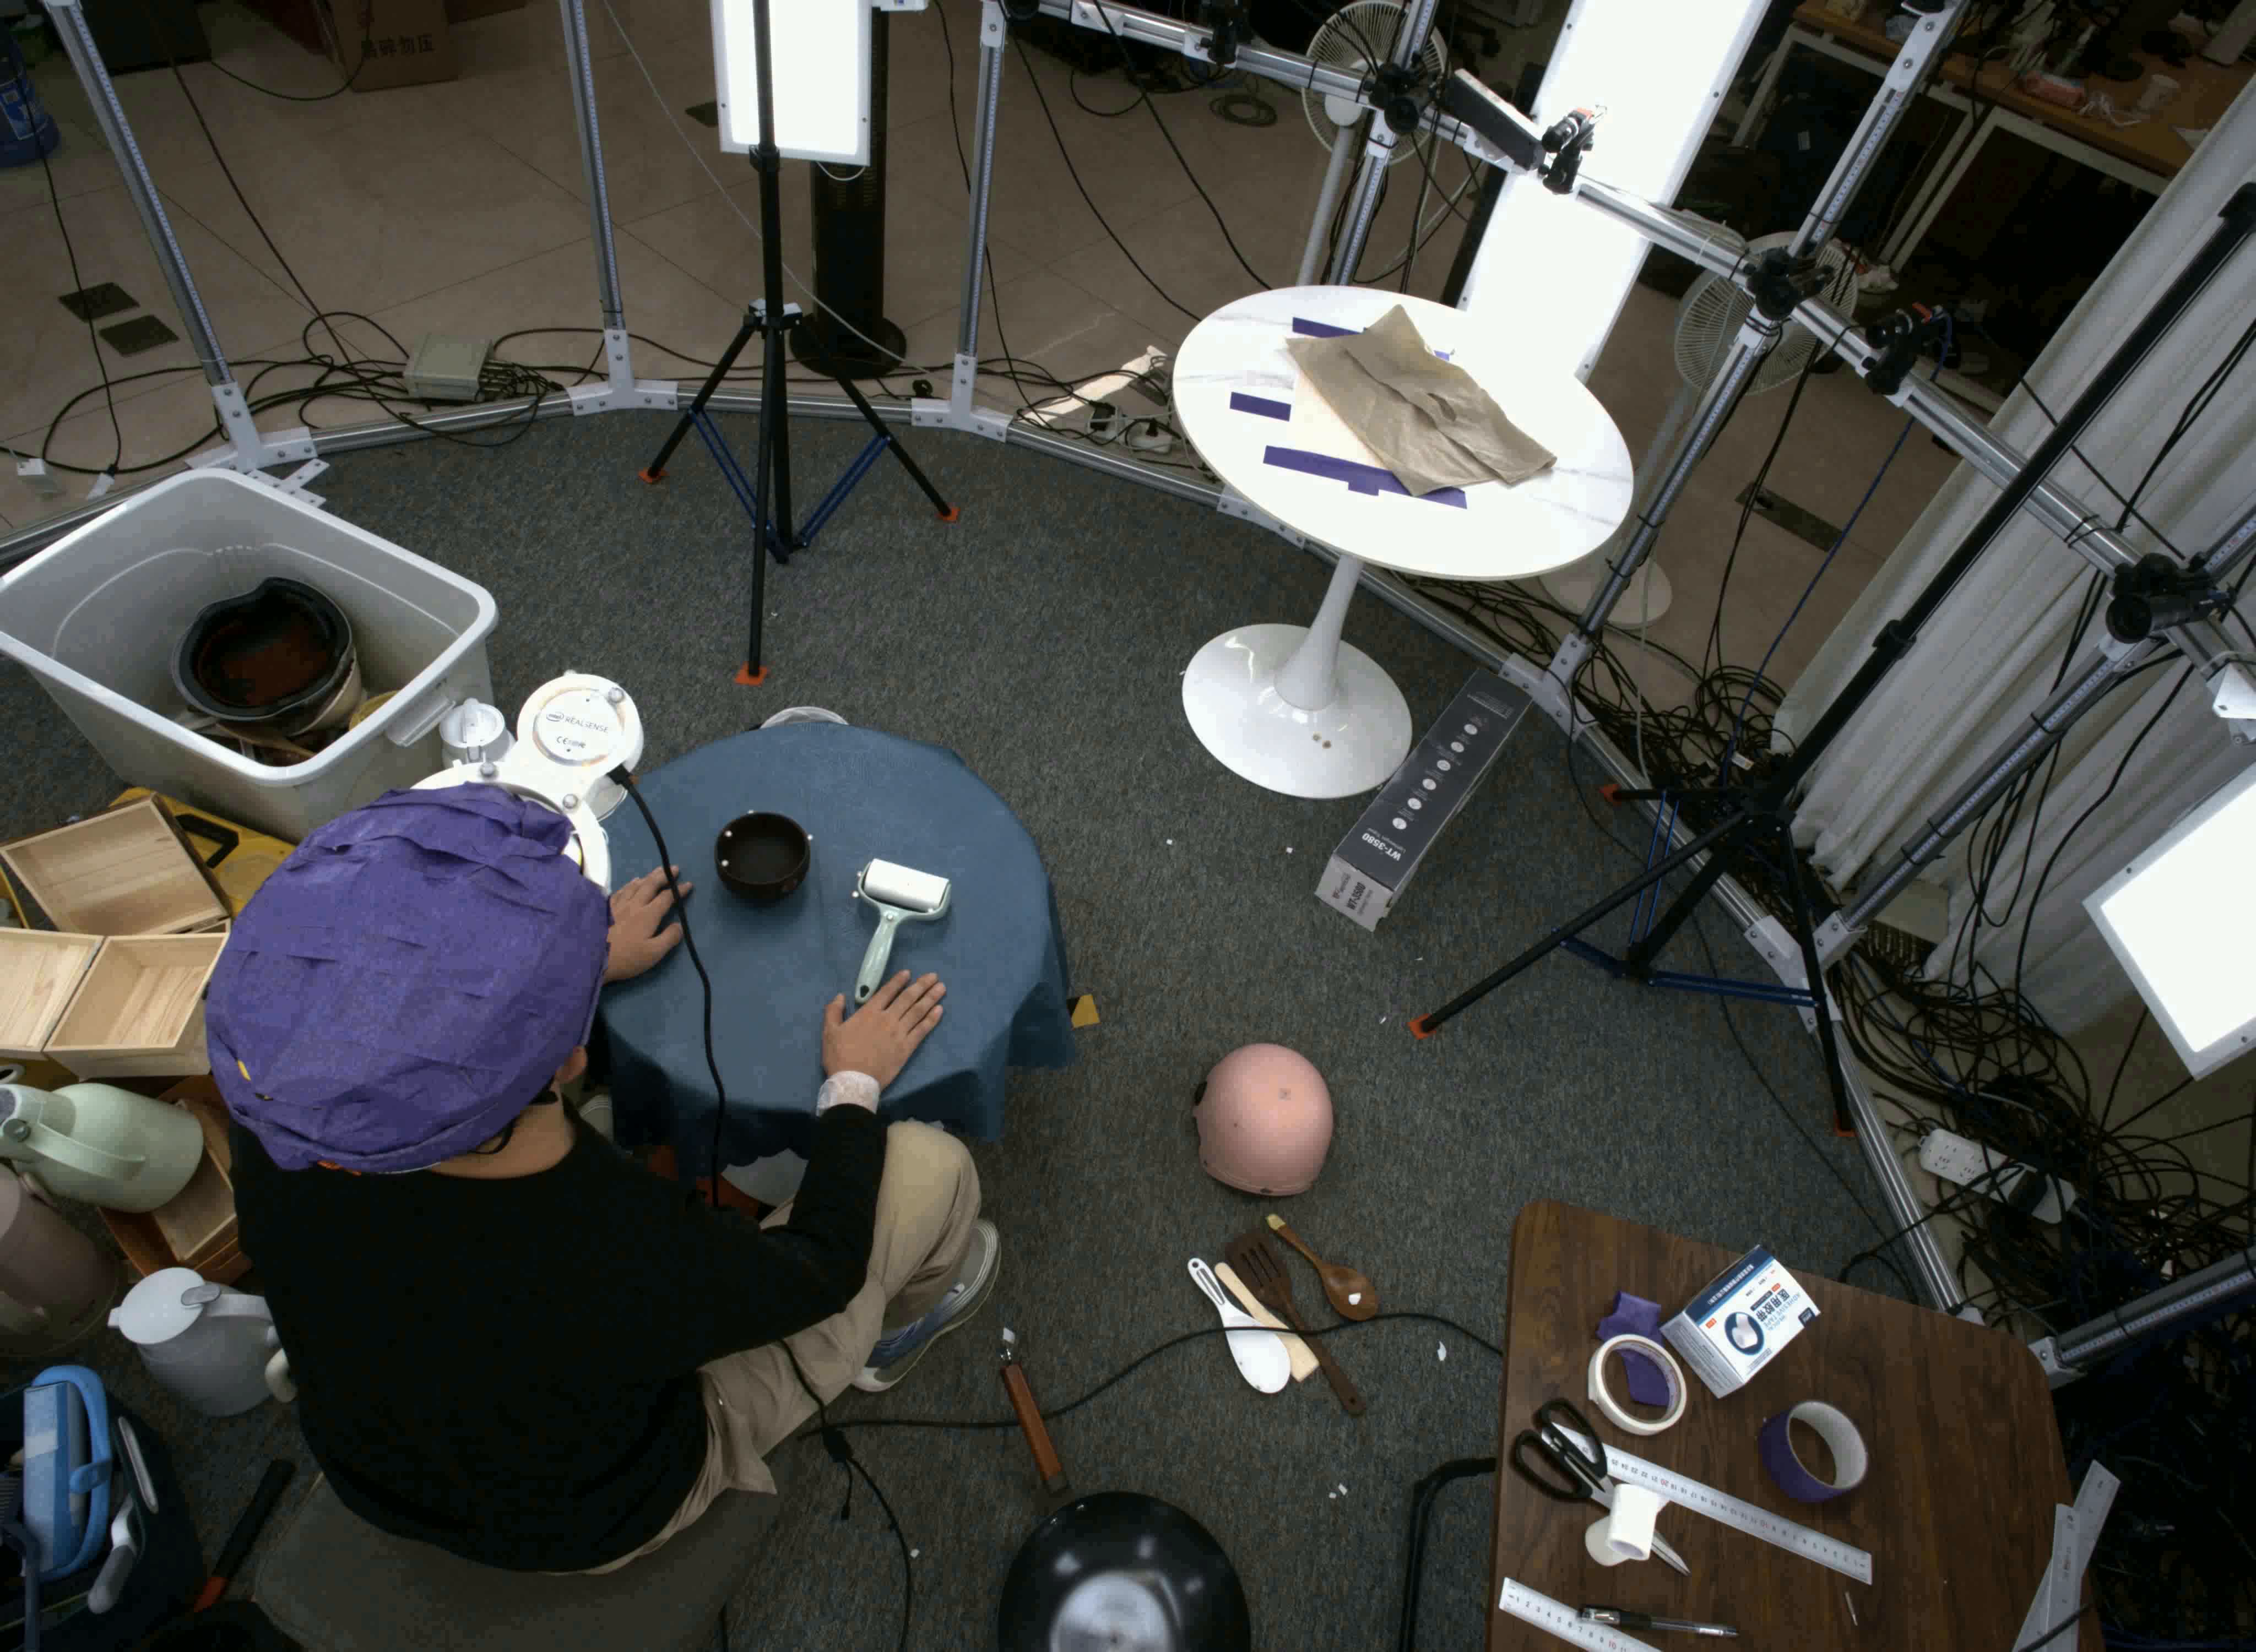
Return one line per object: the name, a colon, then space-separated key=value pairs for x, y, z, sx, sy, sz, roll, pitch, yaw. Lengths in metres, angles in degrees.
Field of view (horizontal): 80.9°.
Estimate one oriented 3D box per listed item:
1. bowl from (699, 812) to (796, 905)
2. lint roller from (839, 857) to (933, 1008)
bowl: x=-0.476 y=0.047 z=1.624 sx=0.118 sy=0.071 sz=0.116 roll=8 pitch=53 yaw=-9
lint roller: x=-0.321 y=0.130 z=1.620 sx=0.116 sy=0.049 sz=0.195 roll=16 pitch=53 yaw=-3
